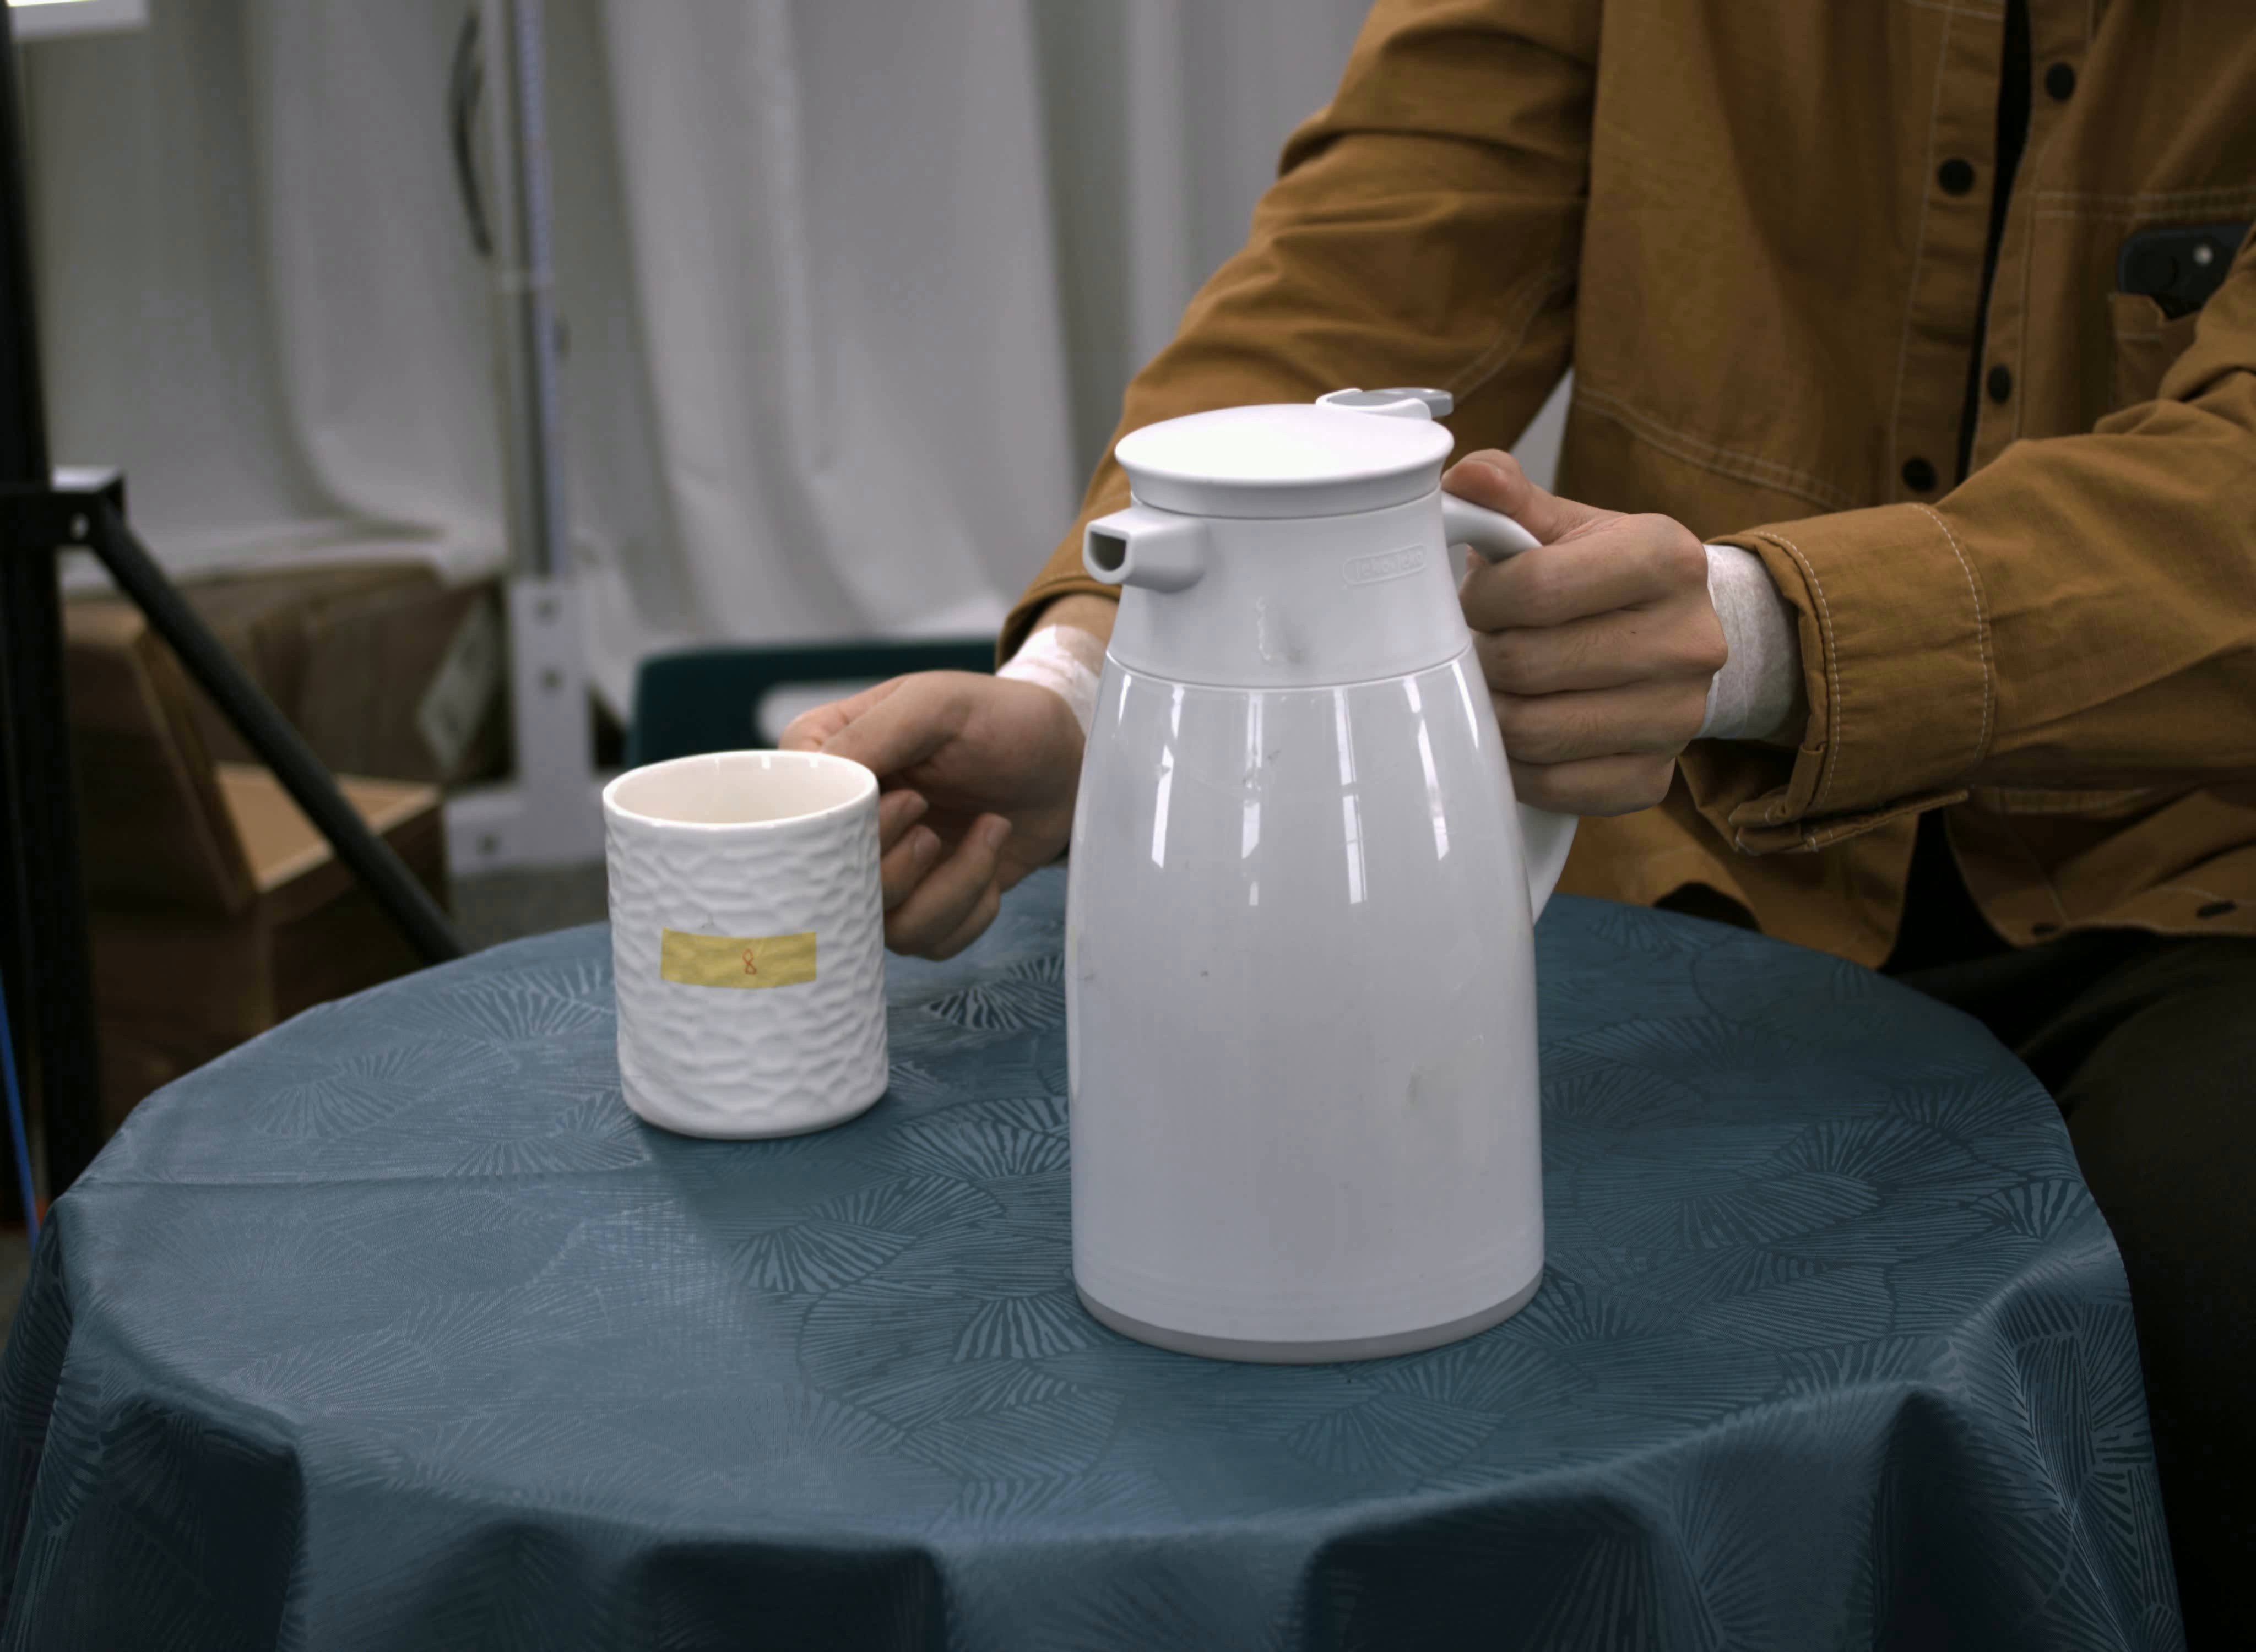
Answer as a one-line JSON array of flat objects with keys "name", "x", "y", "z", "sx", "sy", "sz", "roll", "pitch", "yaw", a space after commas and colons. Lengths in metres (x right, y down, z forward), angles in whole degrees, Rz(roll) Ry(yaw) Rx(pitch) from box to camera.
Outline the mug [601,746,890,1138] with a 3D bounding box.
[{"name": "mug", "x": -0.111, "y": 0.031, "z": 1.654, "sx": 0.086, "sy": 0.102, "sz": 0.117, "roll": 4, "pitch": 17, "yaw": 22}]

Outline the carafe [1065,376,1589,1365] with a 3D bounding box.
[{"name": "carafe", "x": 0.060, "y": 0.004, "z": 1.459, "sx": 0.164, "sy": 0.248, "sz": 0.135, "roll": -13, "pitch": 18, "yaw": -37}]
